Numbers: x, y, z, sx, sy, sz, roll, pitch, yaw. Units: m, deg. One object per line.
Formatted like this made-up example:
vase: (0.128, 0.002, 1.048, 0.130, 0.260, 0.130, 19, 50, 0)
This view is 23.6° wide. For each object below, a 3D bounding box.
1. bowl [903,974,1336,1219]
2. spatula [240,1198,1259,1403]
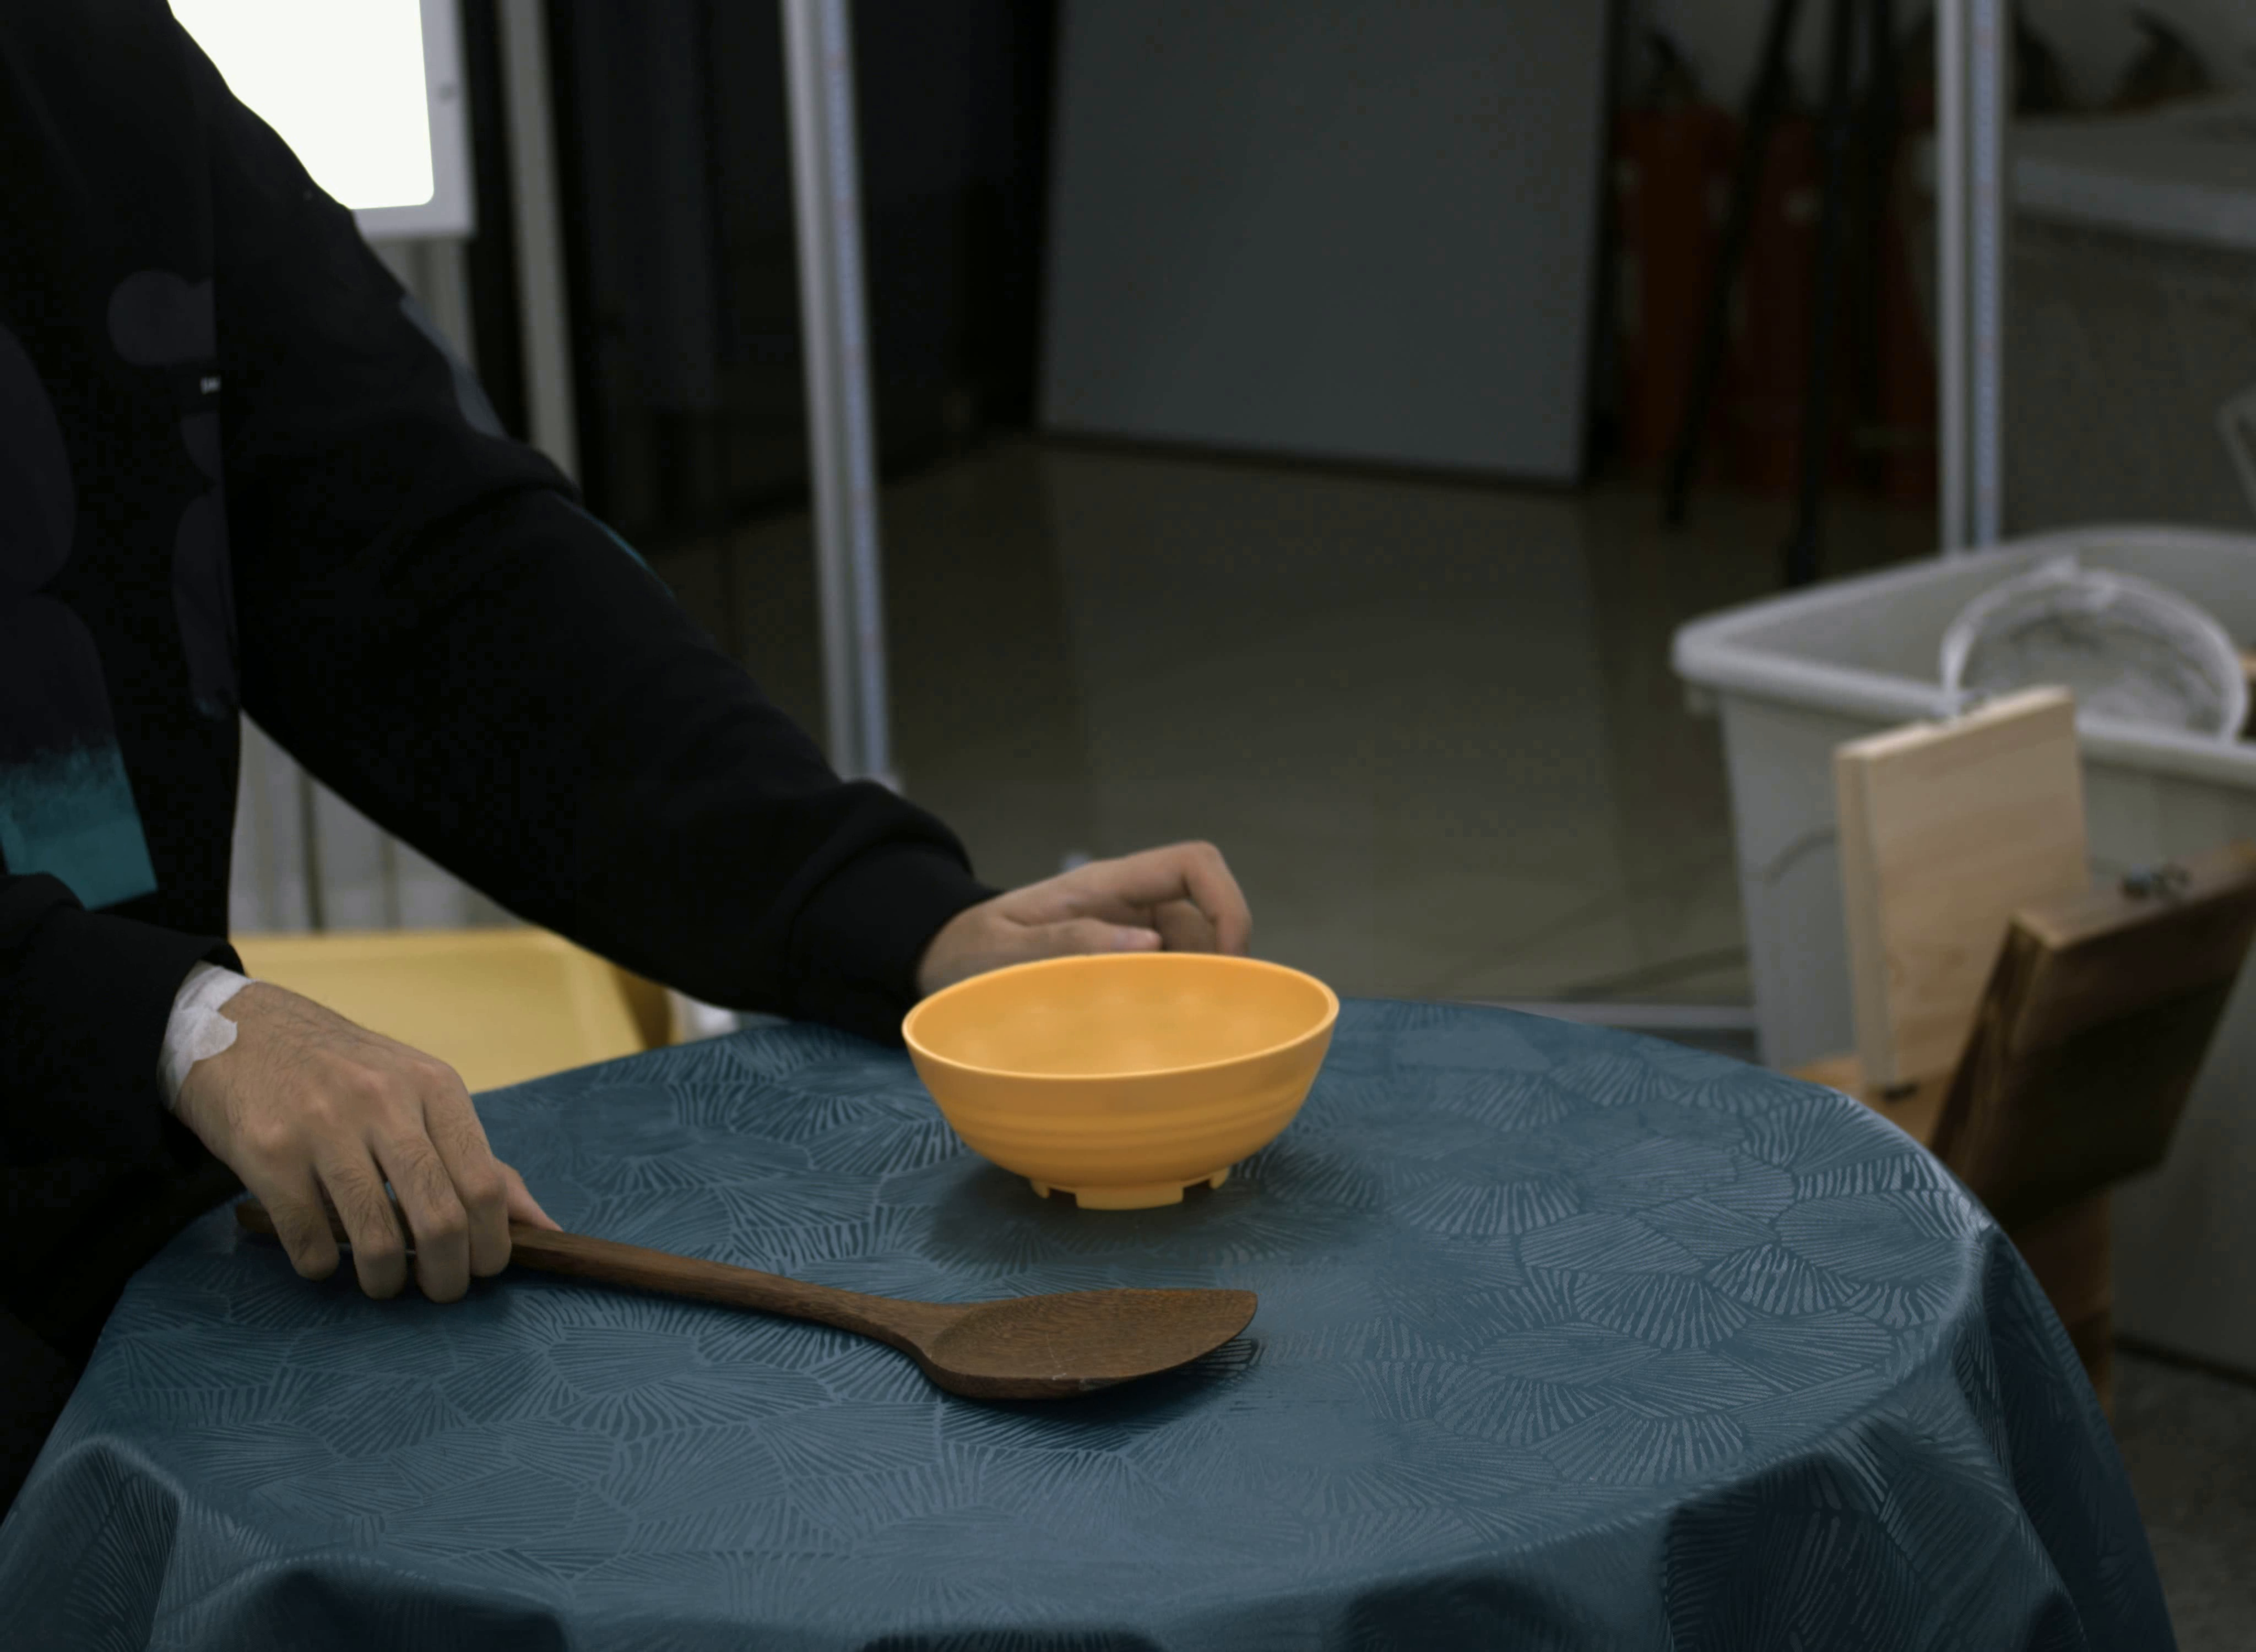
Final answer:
bowl: (-0.002, 0.092, 1.775, 0.143, 0.061, 0.145, -3, 11, 0)
spatula: (-0.133, 0.144, 1.690, 0.388, 0.016, 0.094, 5, 16, 34)
